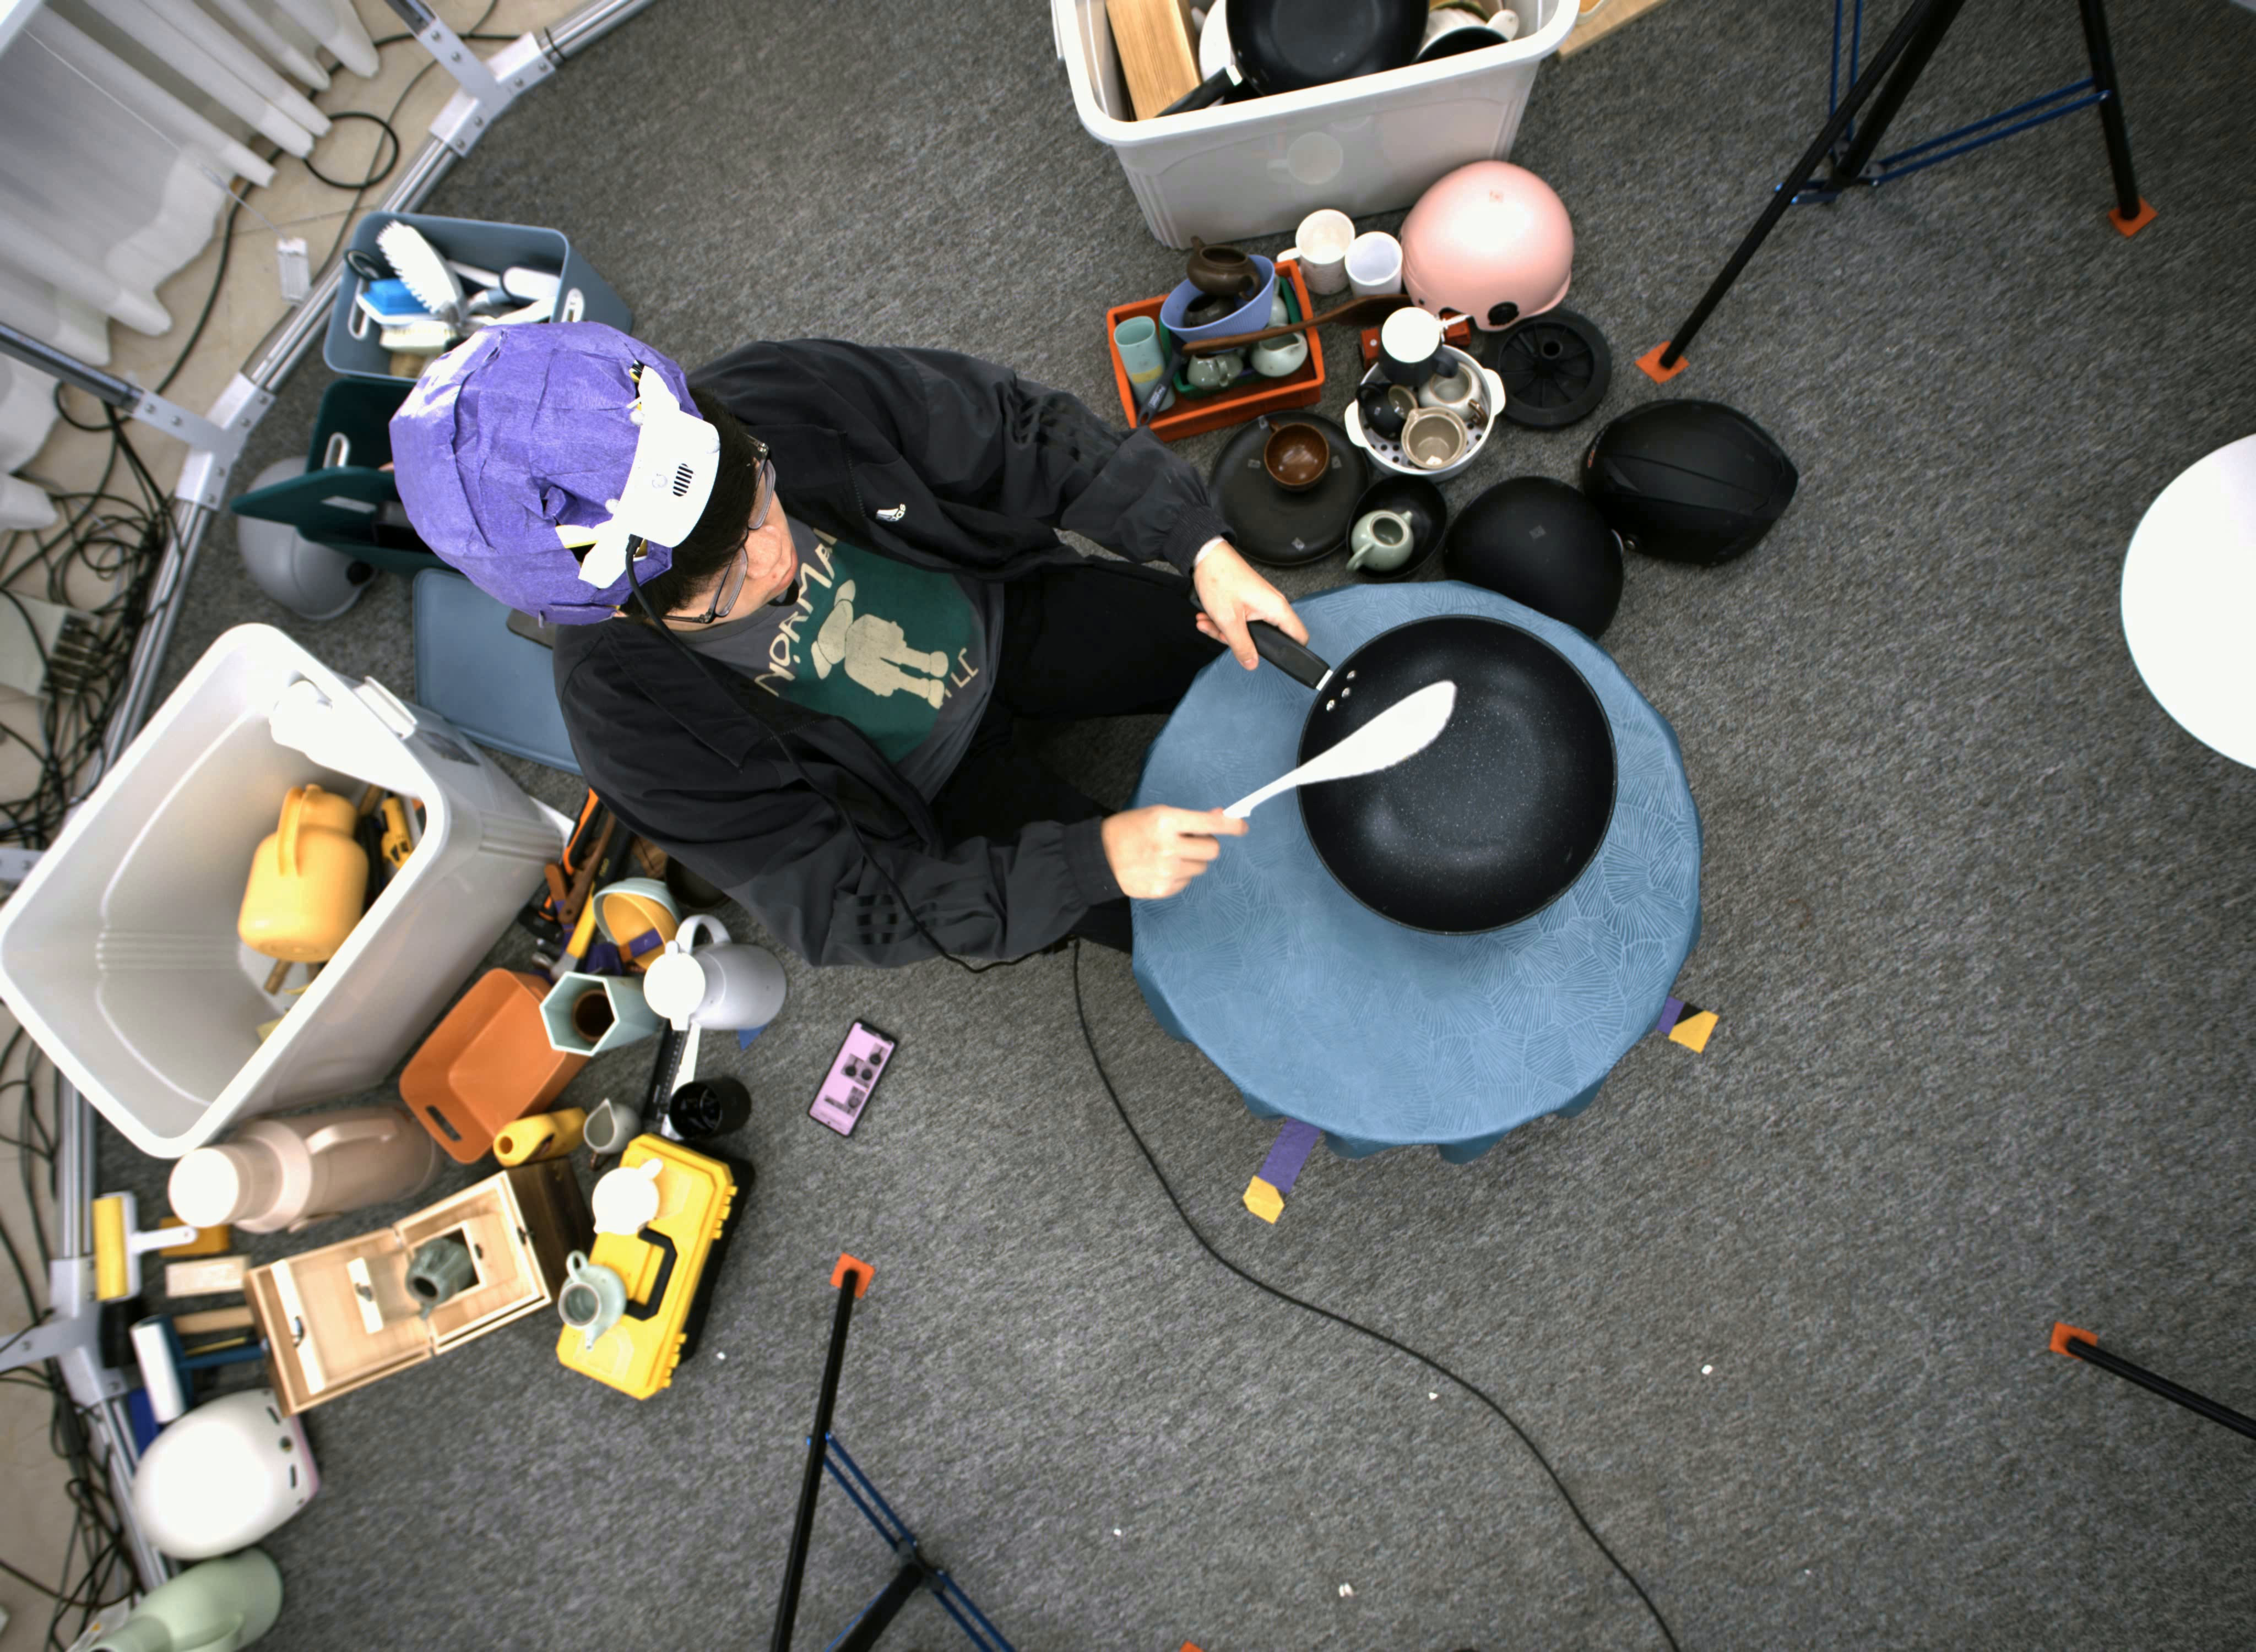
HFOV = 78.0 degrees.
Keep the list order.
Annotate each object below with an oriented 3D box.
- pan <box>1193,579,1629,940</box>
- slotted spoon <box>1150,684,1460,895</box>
[{"bbox_3d":[0.266,-0.098,1.361,0.474,0.110,0.315,39,109,16],"label":"pan"},{"bbox_3d":[0.164,-0.034,1.306,0.351,0.136,0.050,-27,87,14],"label":"slotted spoon"}]
